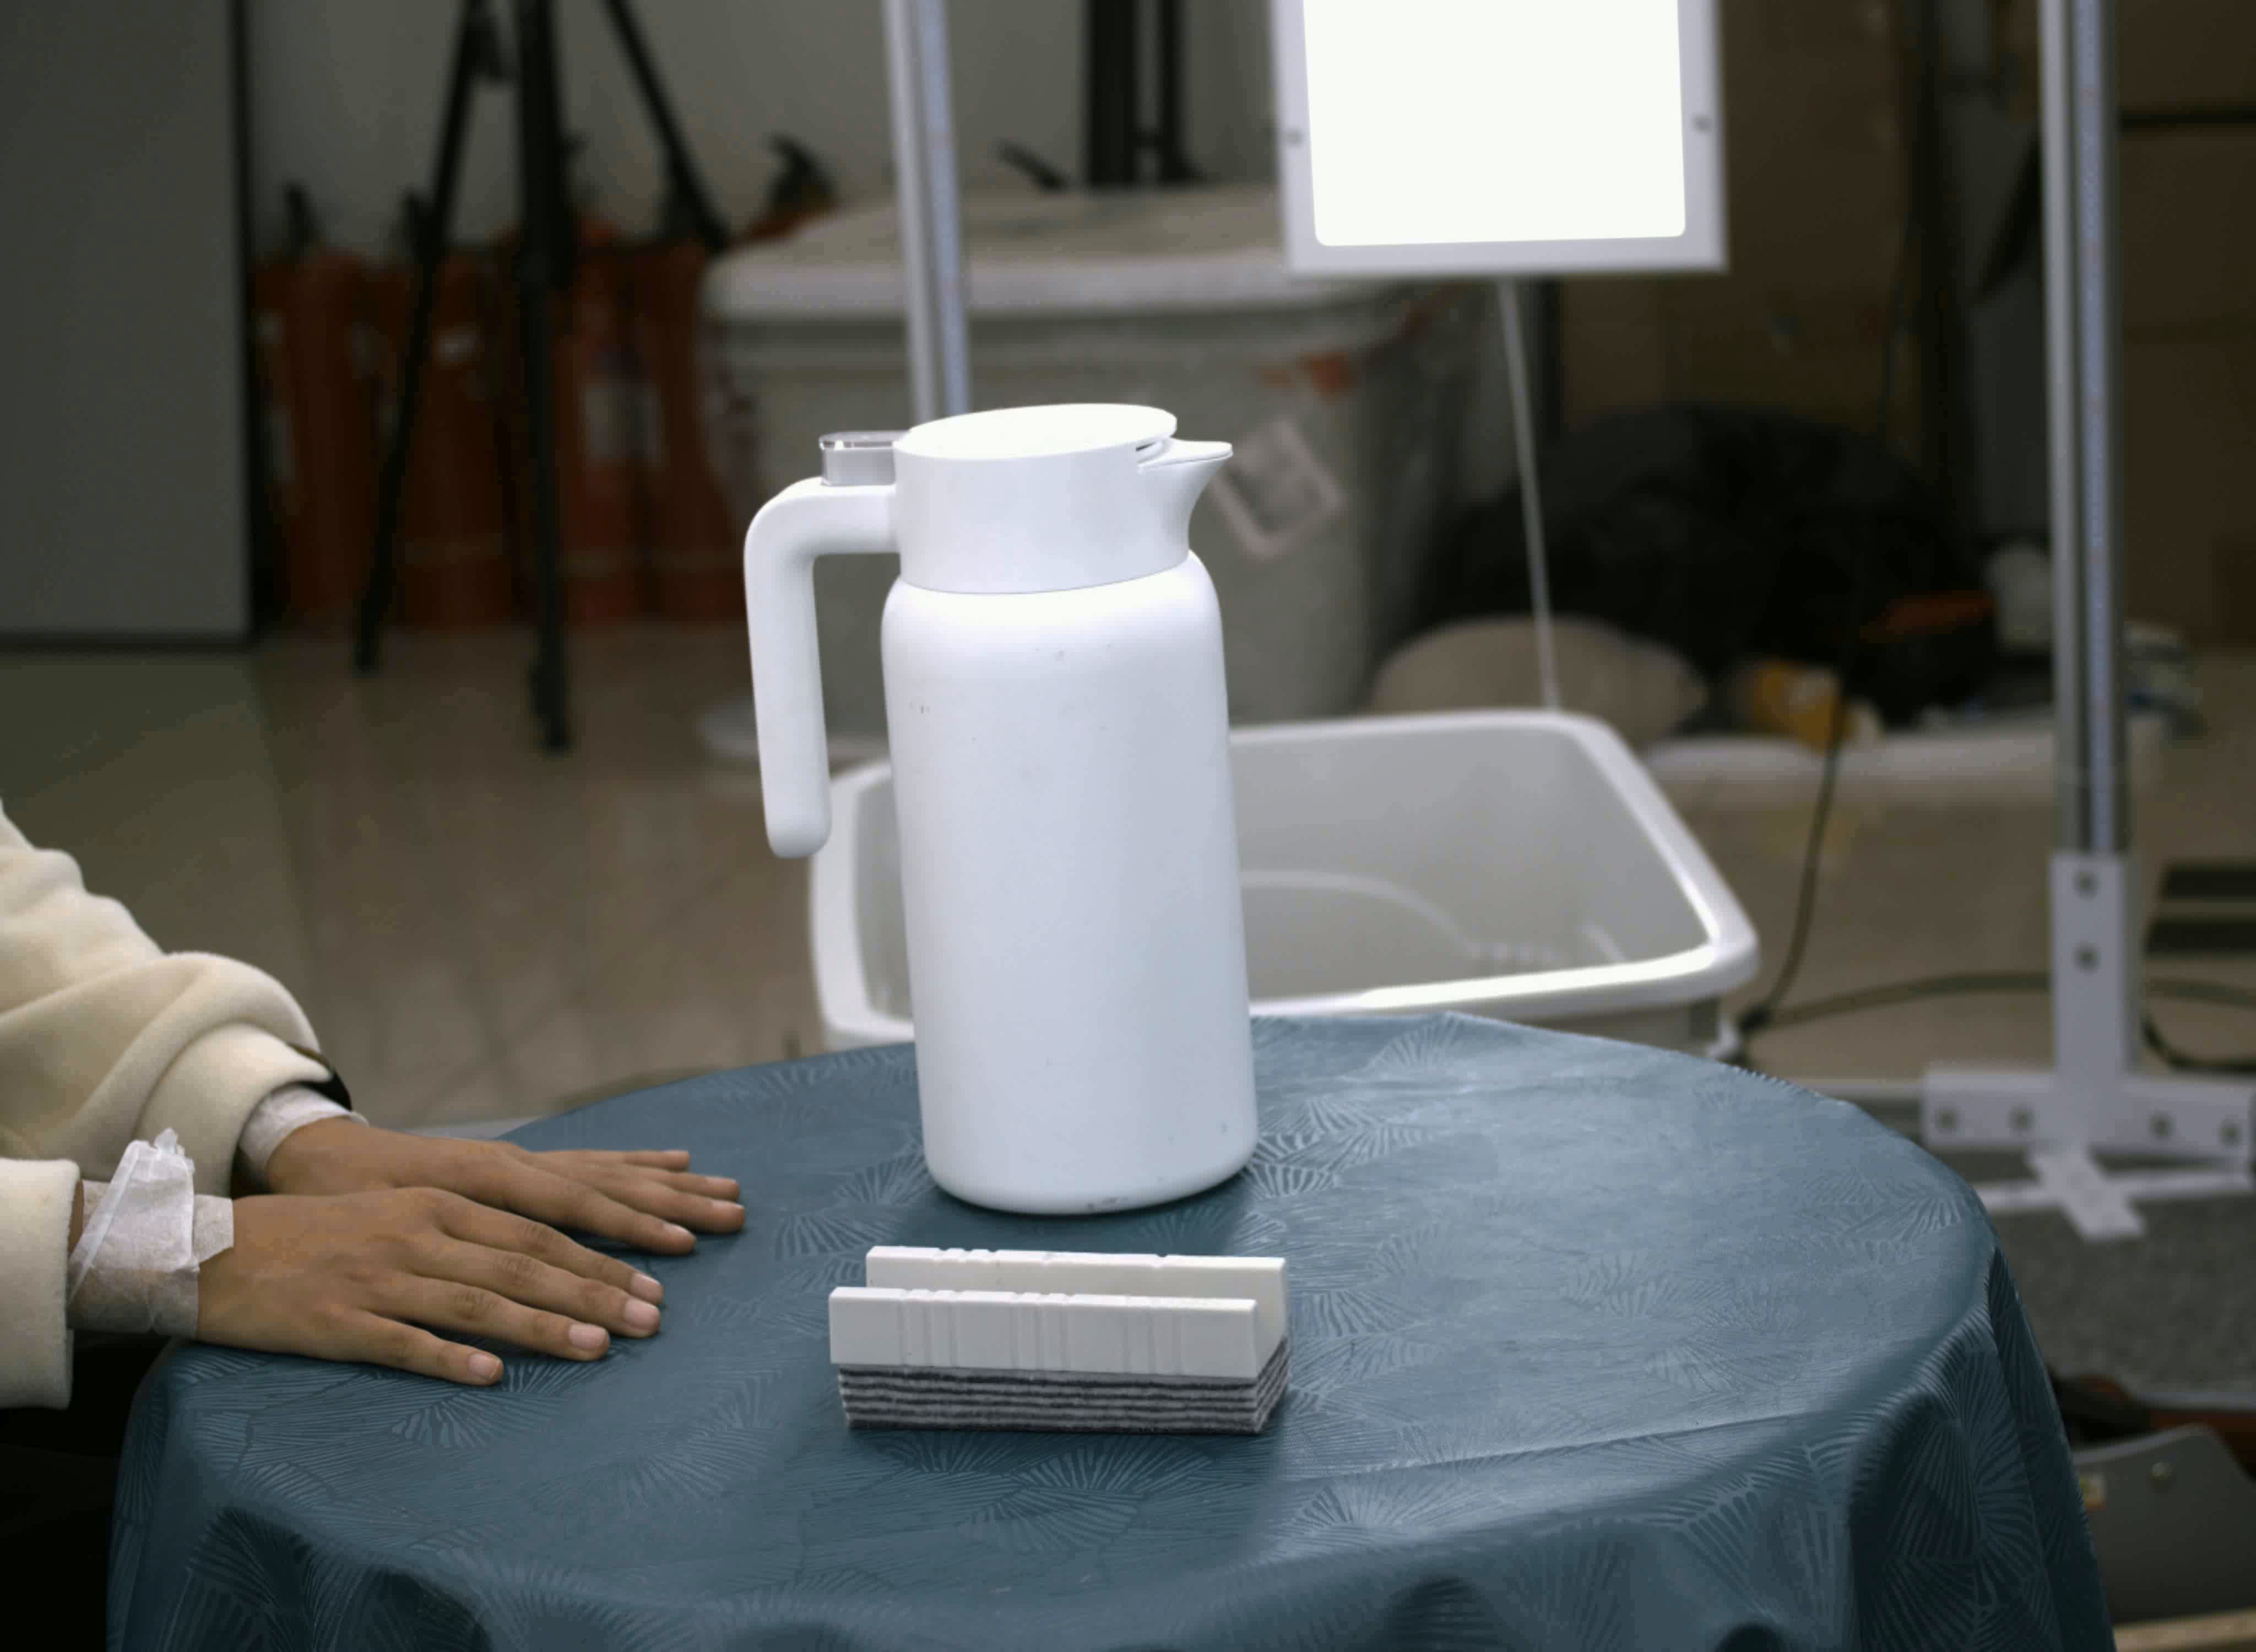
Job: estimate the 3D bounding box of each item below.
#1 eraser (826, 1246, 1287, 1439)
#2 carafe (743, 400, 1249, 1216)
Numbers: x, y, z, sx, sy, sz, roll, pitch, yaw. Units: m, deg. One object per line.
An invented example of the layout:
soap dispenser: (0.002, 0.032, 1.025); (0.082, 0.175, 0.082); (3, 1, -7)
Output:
eraser: (-0.020, 0.158, 1.682); (0.135, 0.047, 0.049); (-1, 18, 15)
carafe: (-0.041, -0.007, 1.895); (0.174, 0.270, 0.122); (-1, 16, 14)
